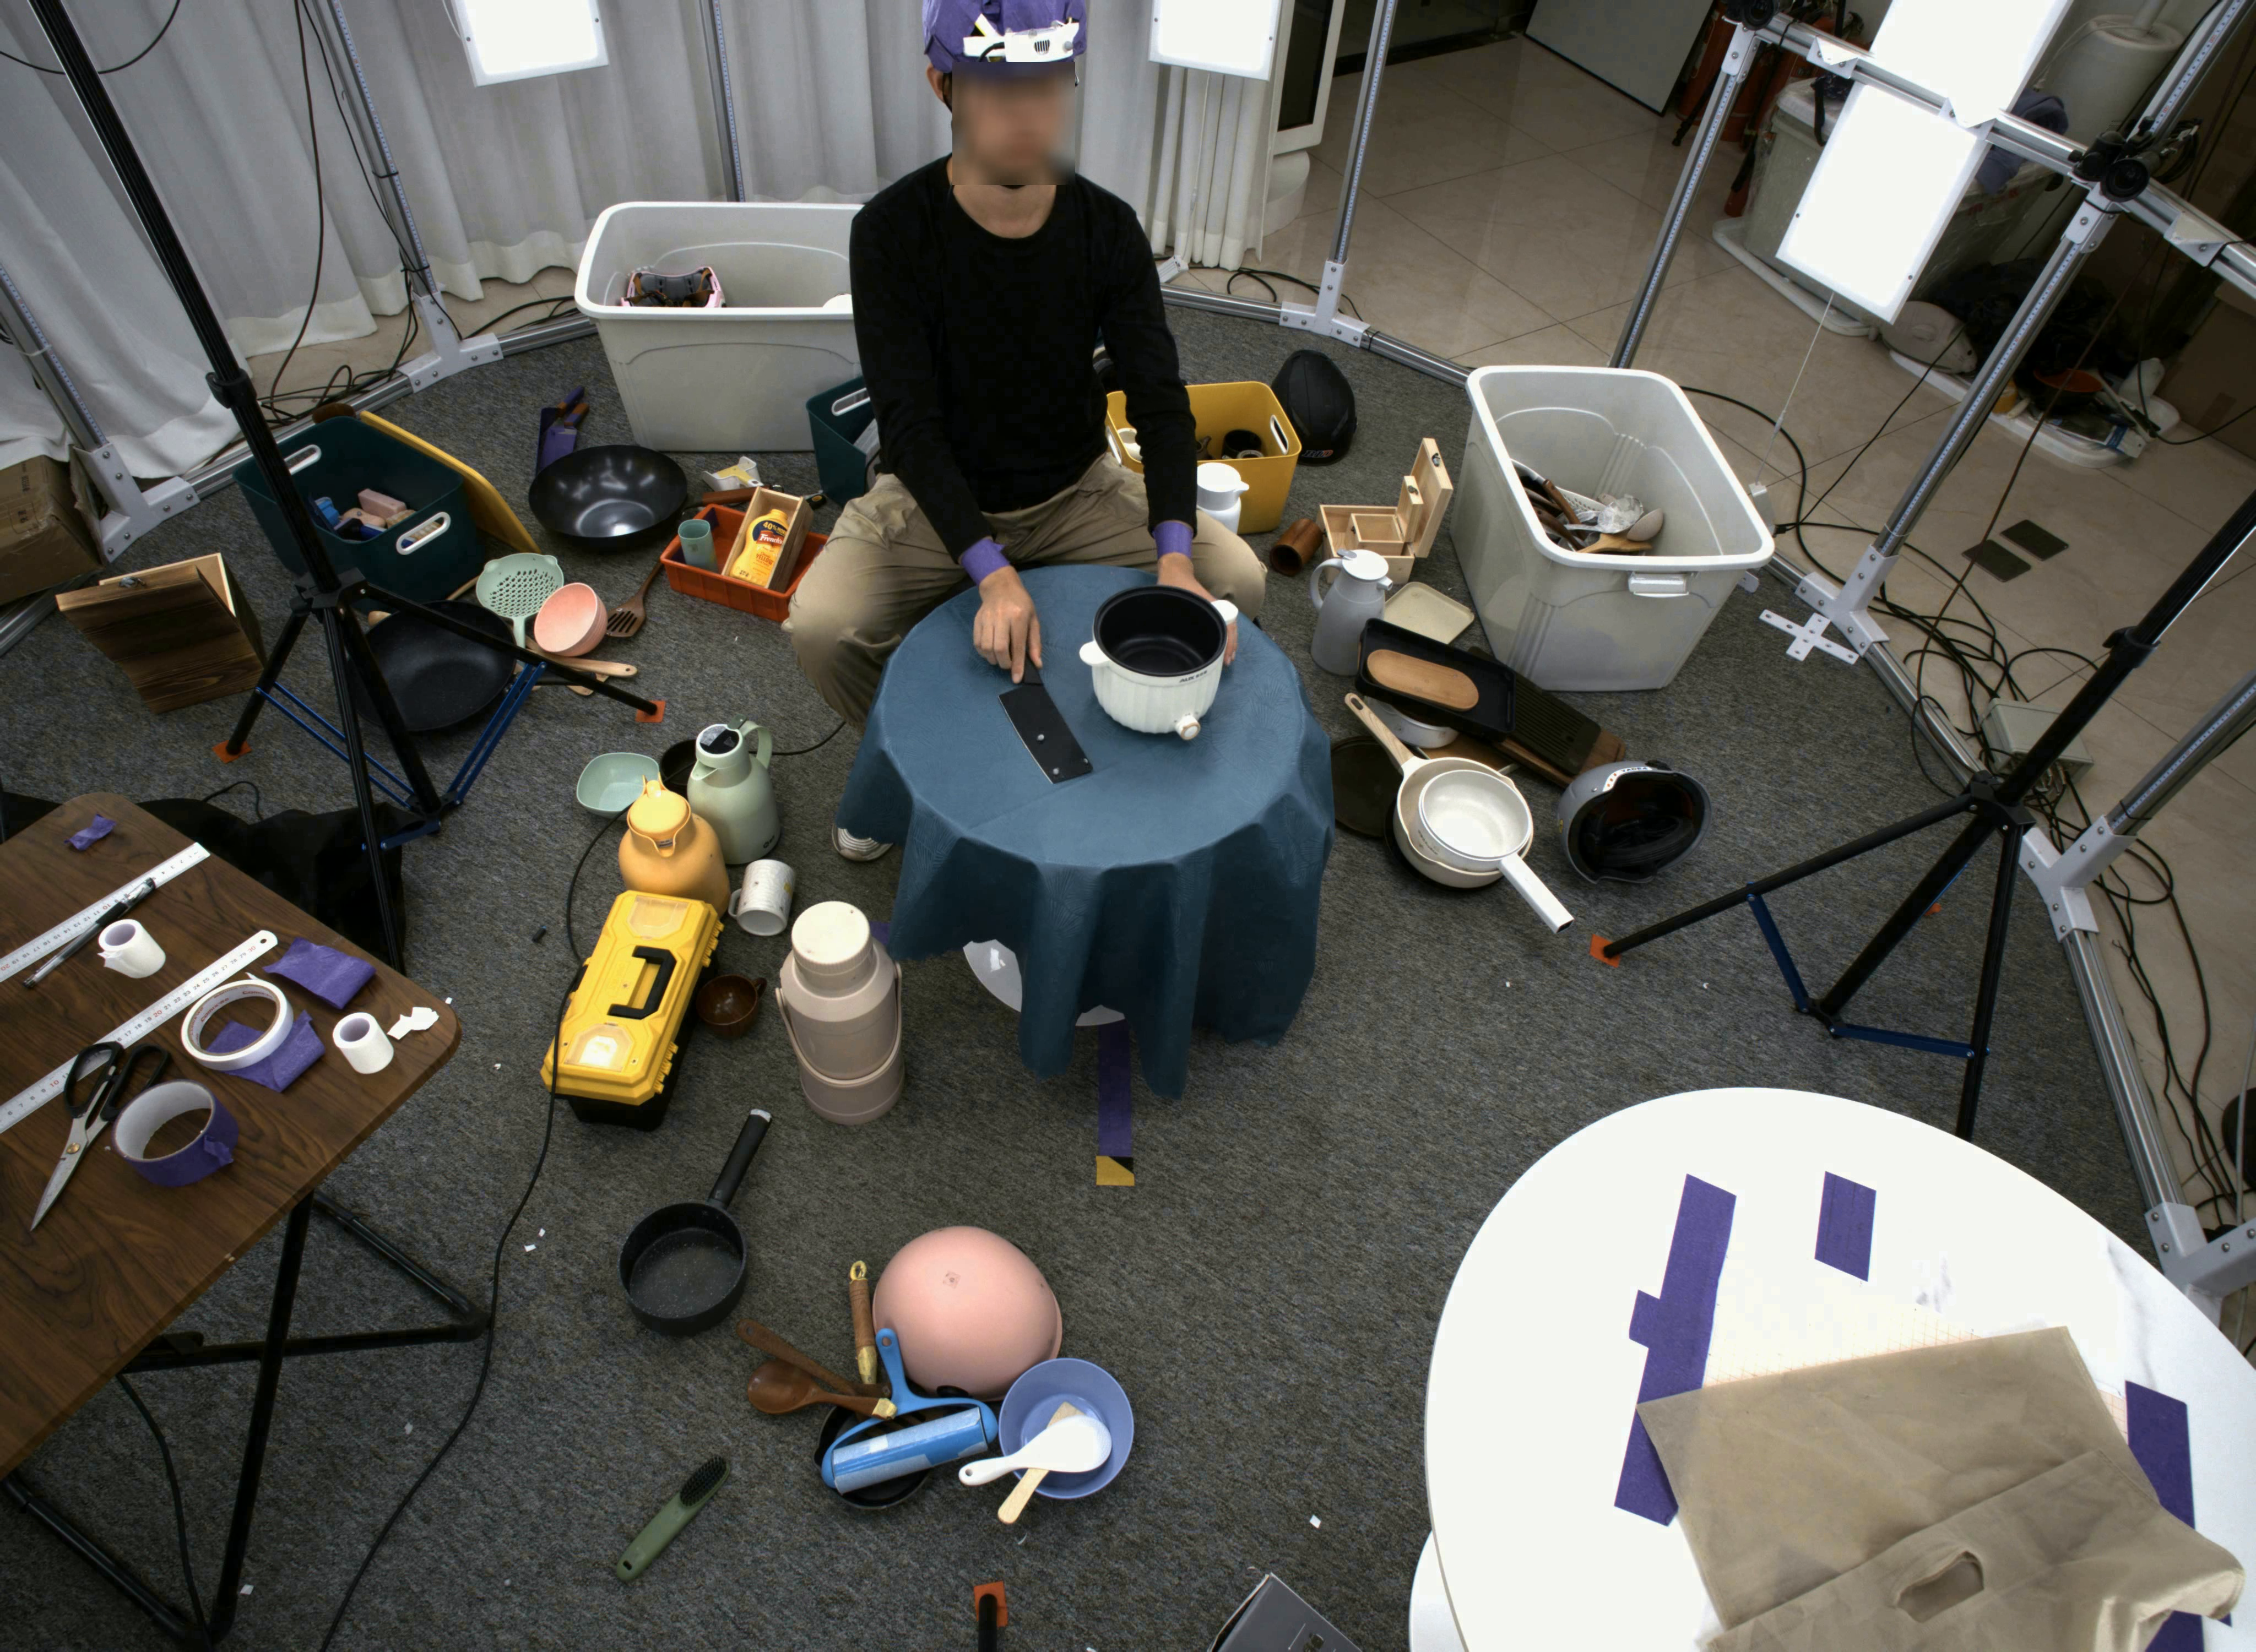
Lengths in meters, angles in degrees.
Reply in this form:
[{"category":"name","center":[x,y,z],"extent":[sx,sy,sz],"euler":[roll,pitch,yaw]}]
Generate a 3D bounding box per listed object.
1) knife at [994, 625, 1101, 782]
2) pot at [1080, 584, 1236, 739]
[{"category":"knife","center":[-0.127,-0.178,1.806],"extent":[0.081,0.020,0.309],"euler":[-18,55,-12]},{"category":"pot","center":[0.044,-0.220,1.774],"extent":[0.241,0.139,0.194],"euler":[-22,51,-20]}]
